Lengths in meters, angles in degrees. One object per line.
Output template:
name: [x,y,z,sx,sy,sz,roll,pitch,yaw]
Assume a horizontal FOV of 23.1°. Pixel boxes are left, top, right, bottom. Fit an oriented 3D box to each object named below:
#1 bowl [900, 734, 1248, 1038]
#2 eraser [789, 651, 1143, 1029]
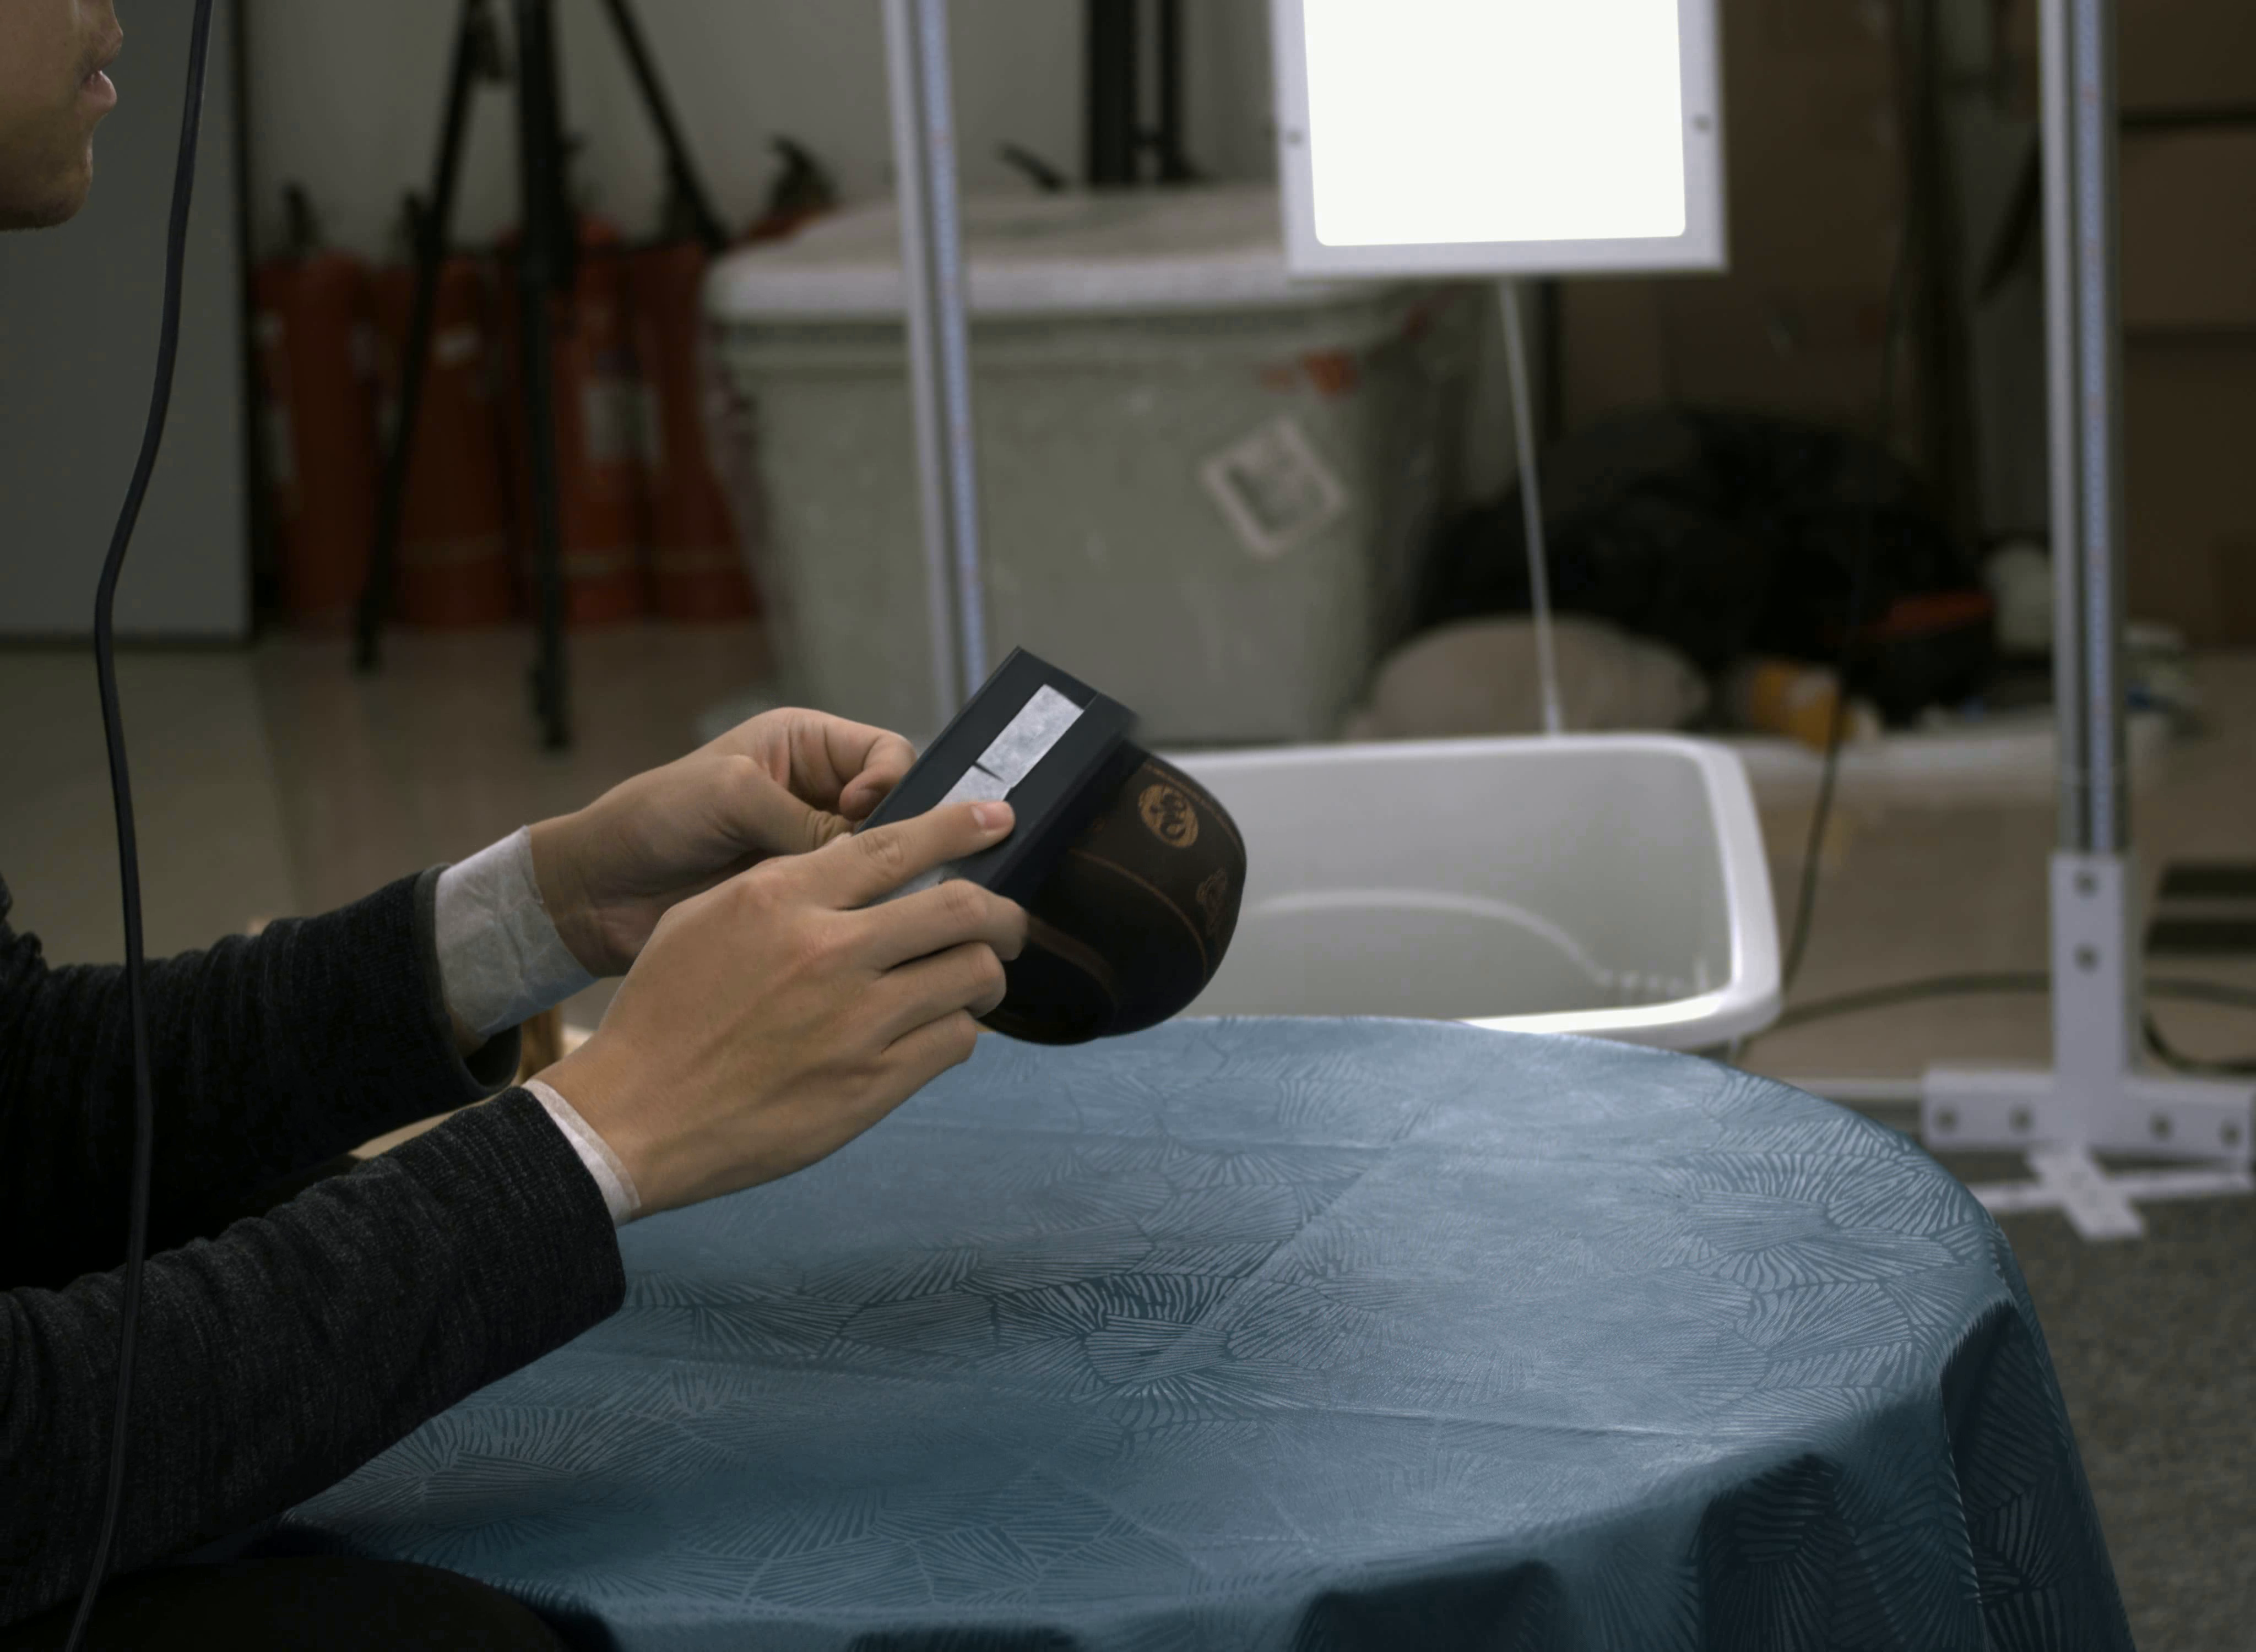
bowl: [-0.023,0.025,1.802,0.120,0.117,0.069,1,55,22]
eraser: [-0.050,0.003,1.734,0.054,0.030,0.124,28,65,22]
